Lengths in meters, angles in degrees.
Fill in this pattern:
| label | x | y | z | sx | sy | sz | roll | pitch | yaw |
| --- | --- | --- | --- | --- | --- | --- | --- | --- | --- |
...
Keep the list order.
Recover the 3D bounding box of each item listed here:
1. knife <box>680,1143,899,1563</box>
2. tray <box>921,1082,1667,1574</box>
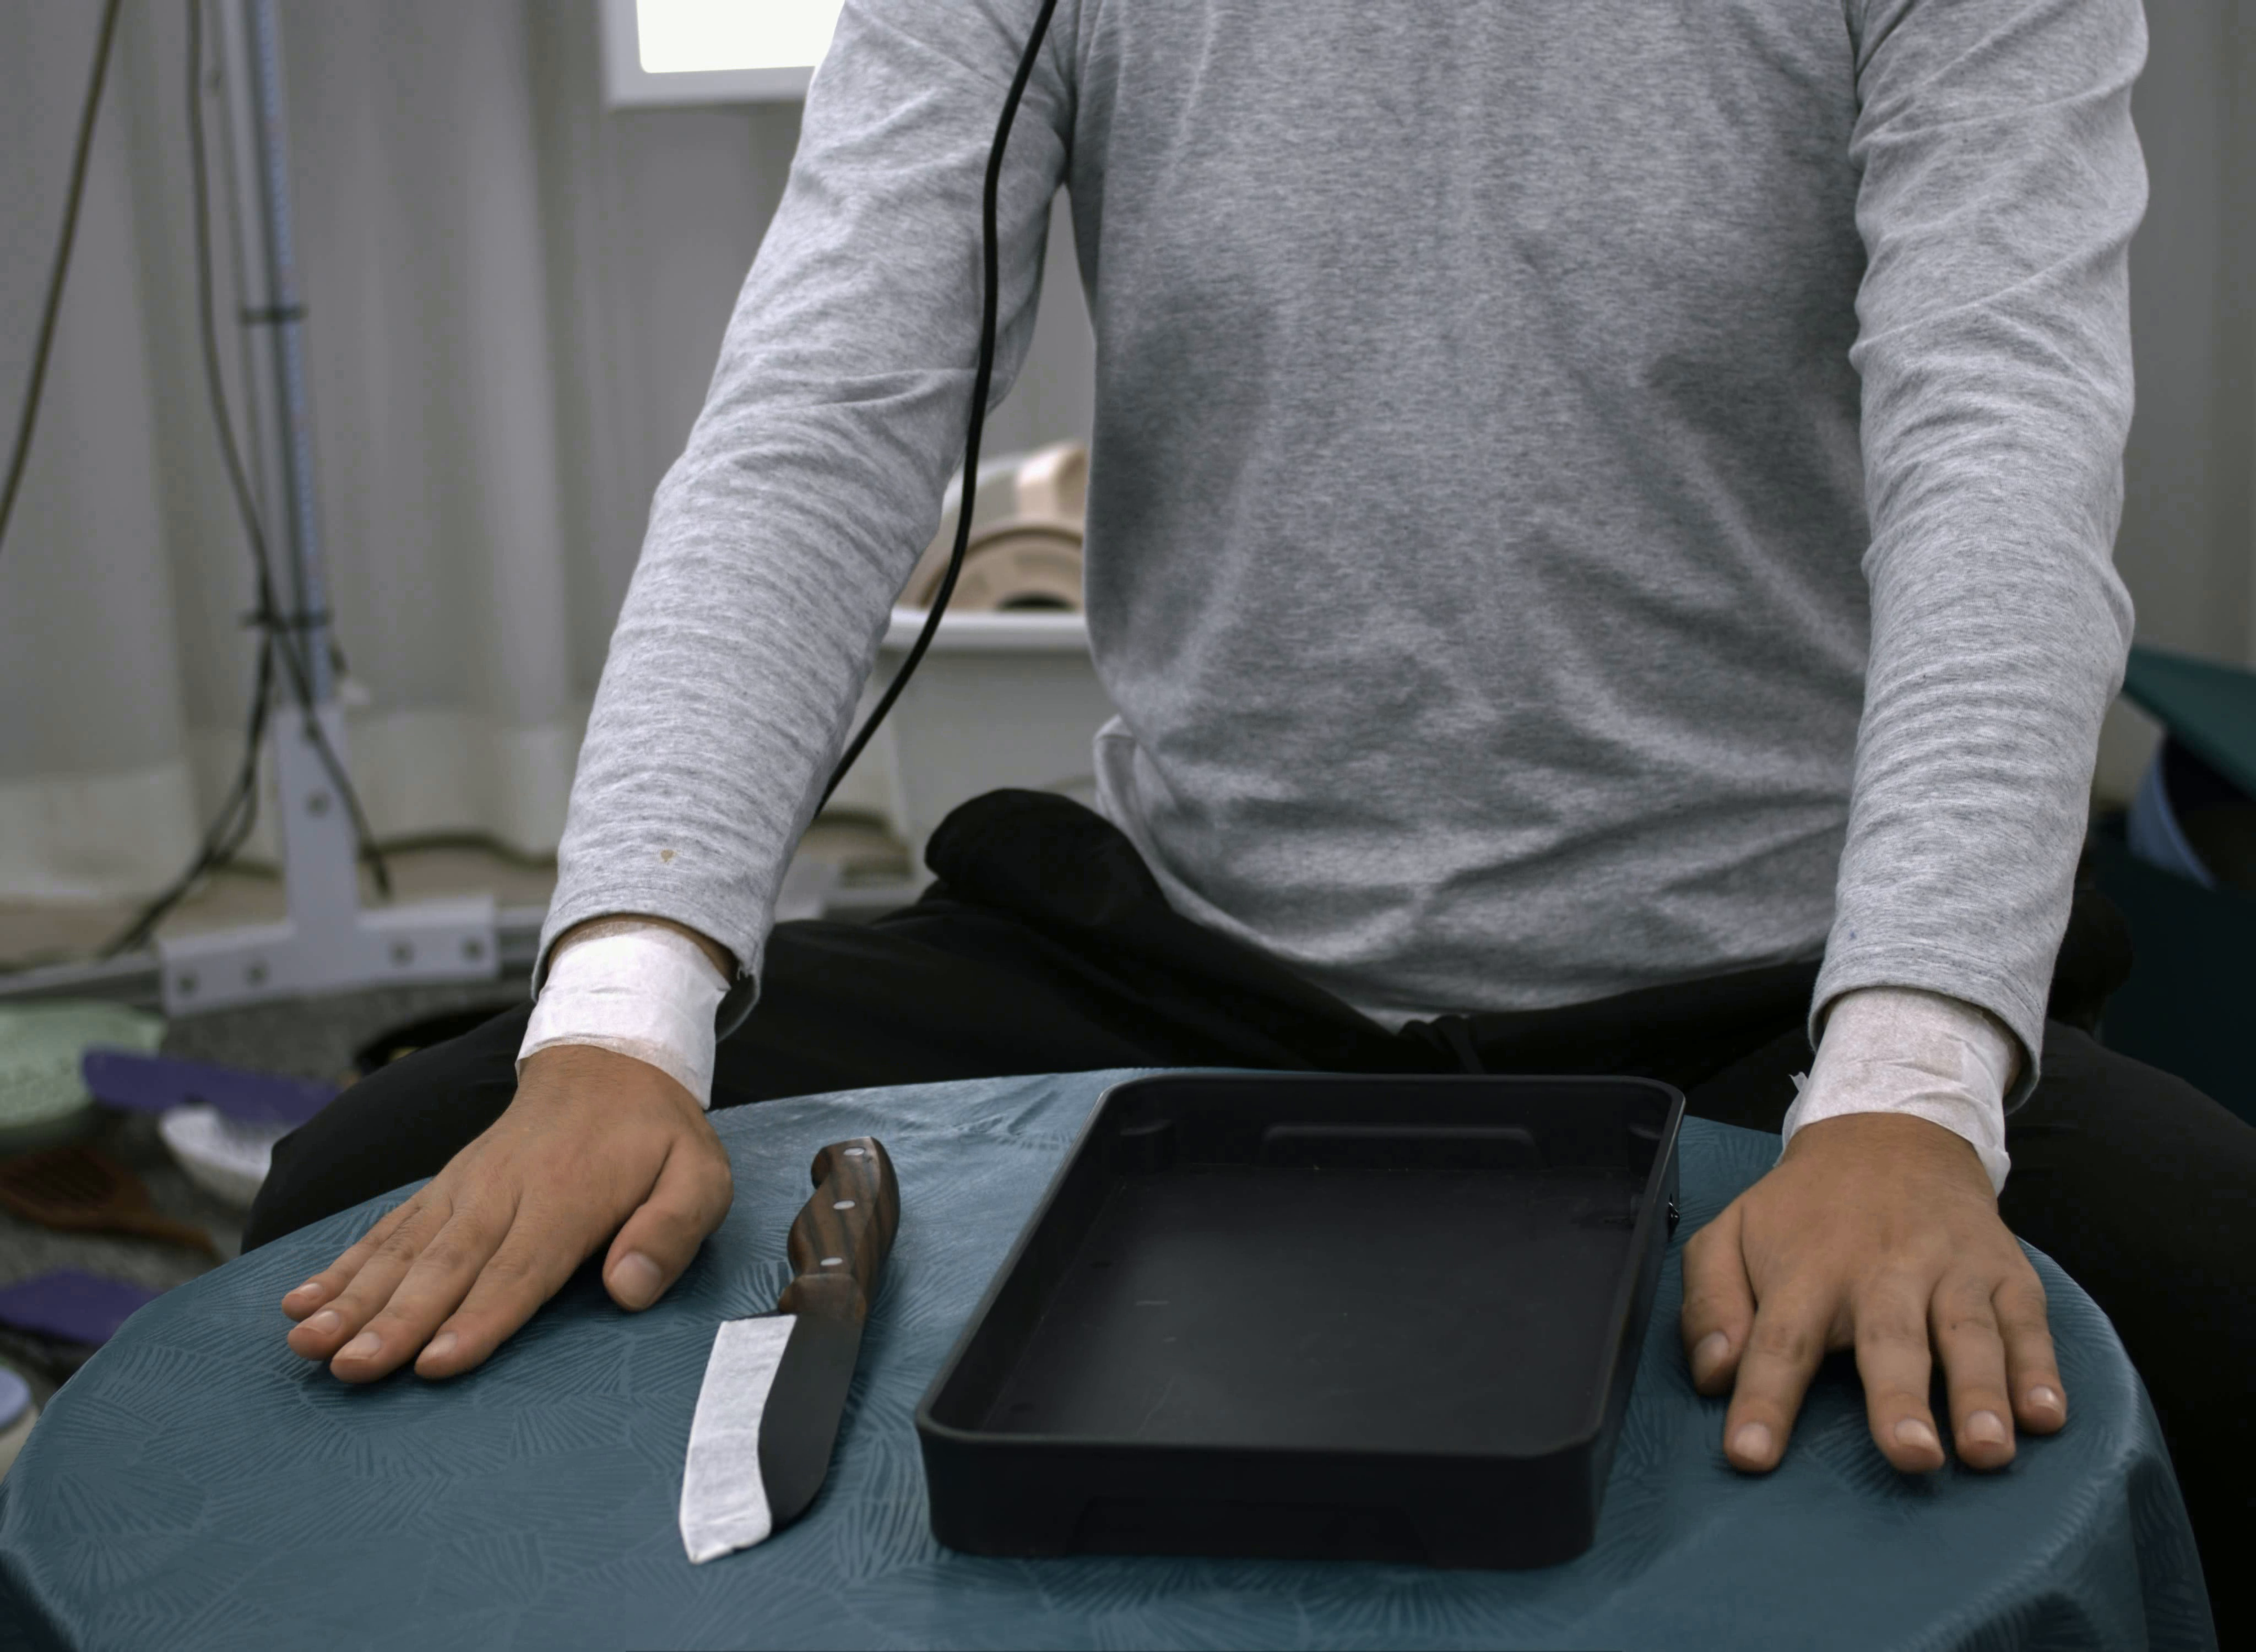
| label | x | y | z | sx | sy | sz | roll | pitch | yaw |
| --- | --- | --- | --- | --- | --- | --- | --- | --- | --- |
| knife | -0.096 | 0.150 | 1.573 | 0.050 | 0.020 | 0.291 | -6 | 17 | 7 |
| tray | 0.056 | 0.137 | 1.557 | 0.184 | 0.037 | 0.319 | 0 | 14 | 9 |
